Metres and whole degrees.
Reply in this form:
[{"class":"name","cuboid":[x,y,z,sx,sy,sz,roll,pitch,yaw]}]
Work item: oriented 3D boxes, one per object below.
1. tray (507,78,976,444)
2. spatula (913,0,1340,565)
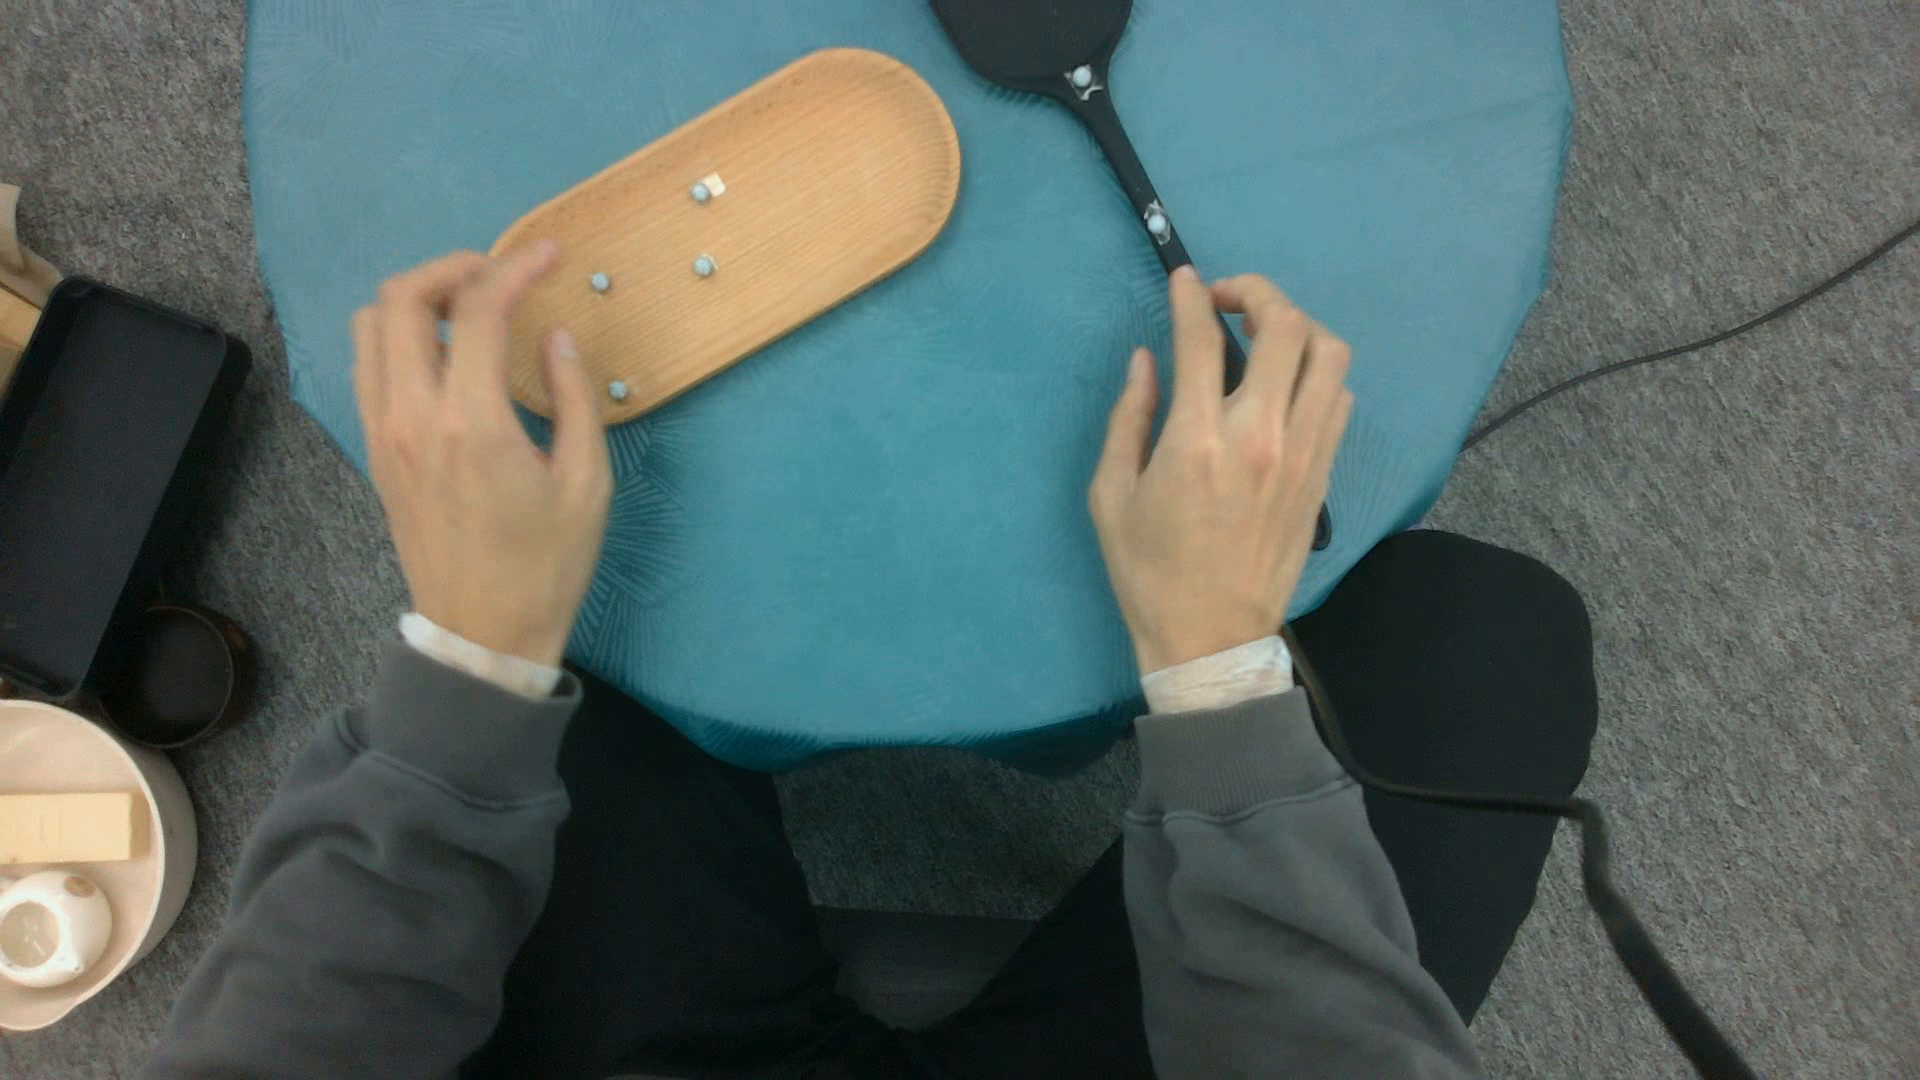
[{"class":"tray","cuboid":[-0.100,-0.127,0.632,0.231,0.020,0.102,-30,87,-2]},{"class":"spatula","cuboid":[0.091,-0.133,0.617,0.100,0.040,0.326,-28,86,1]}]
